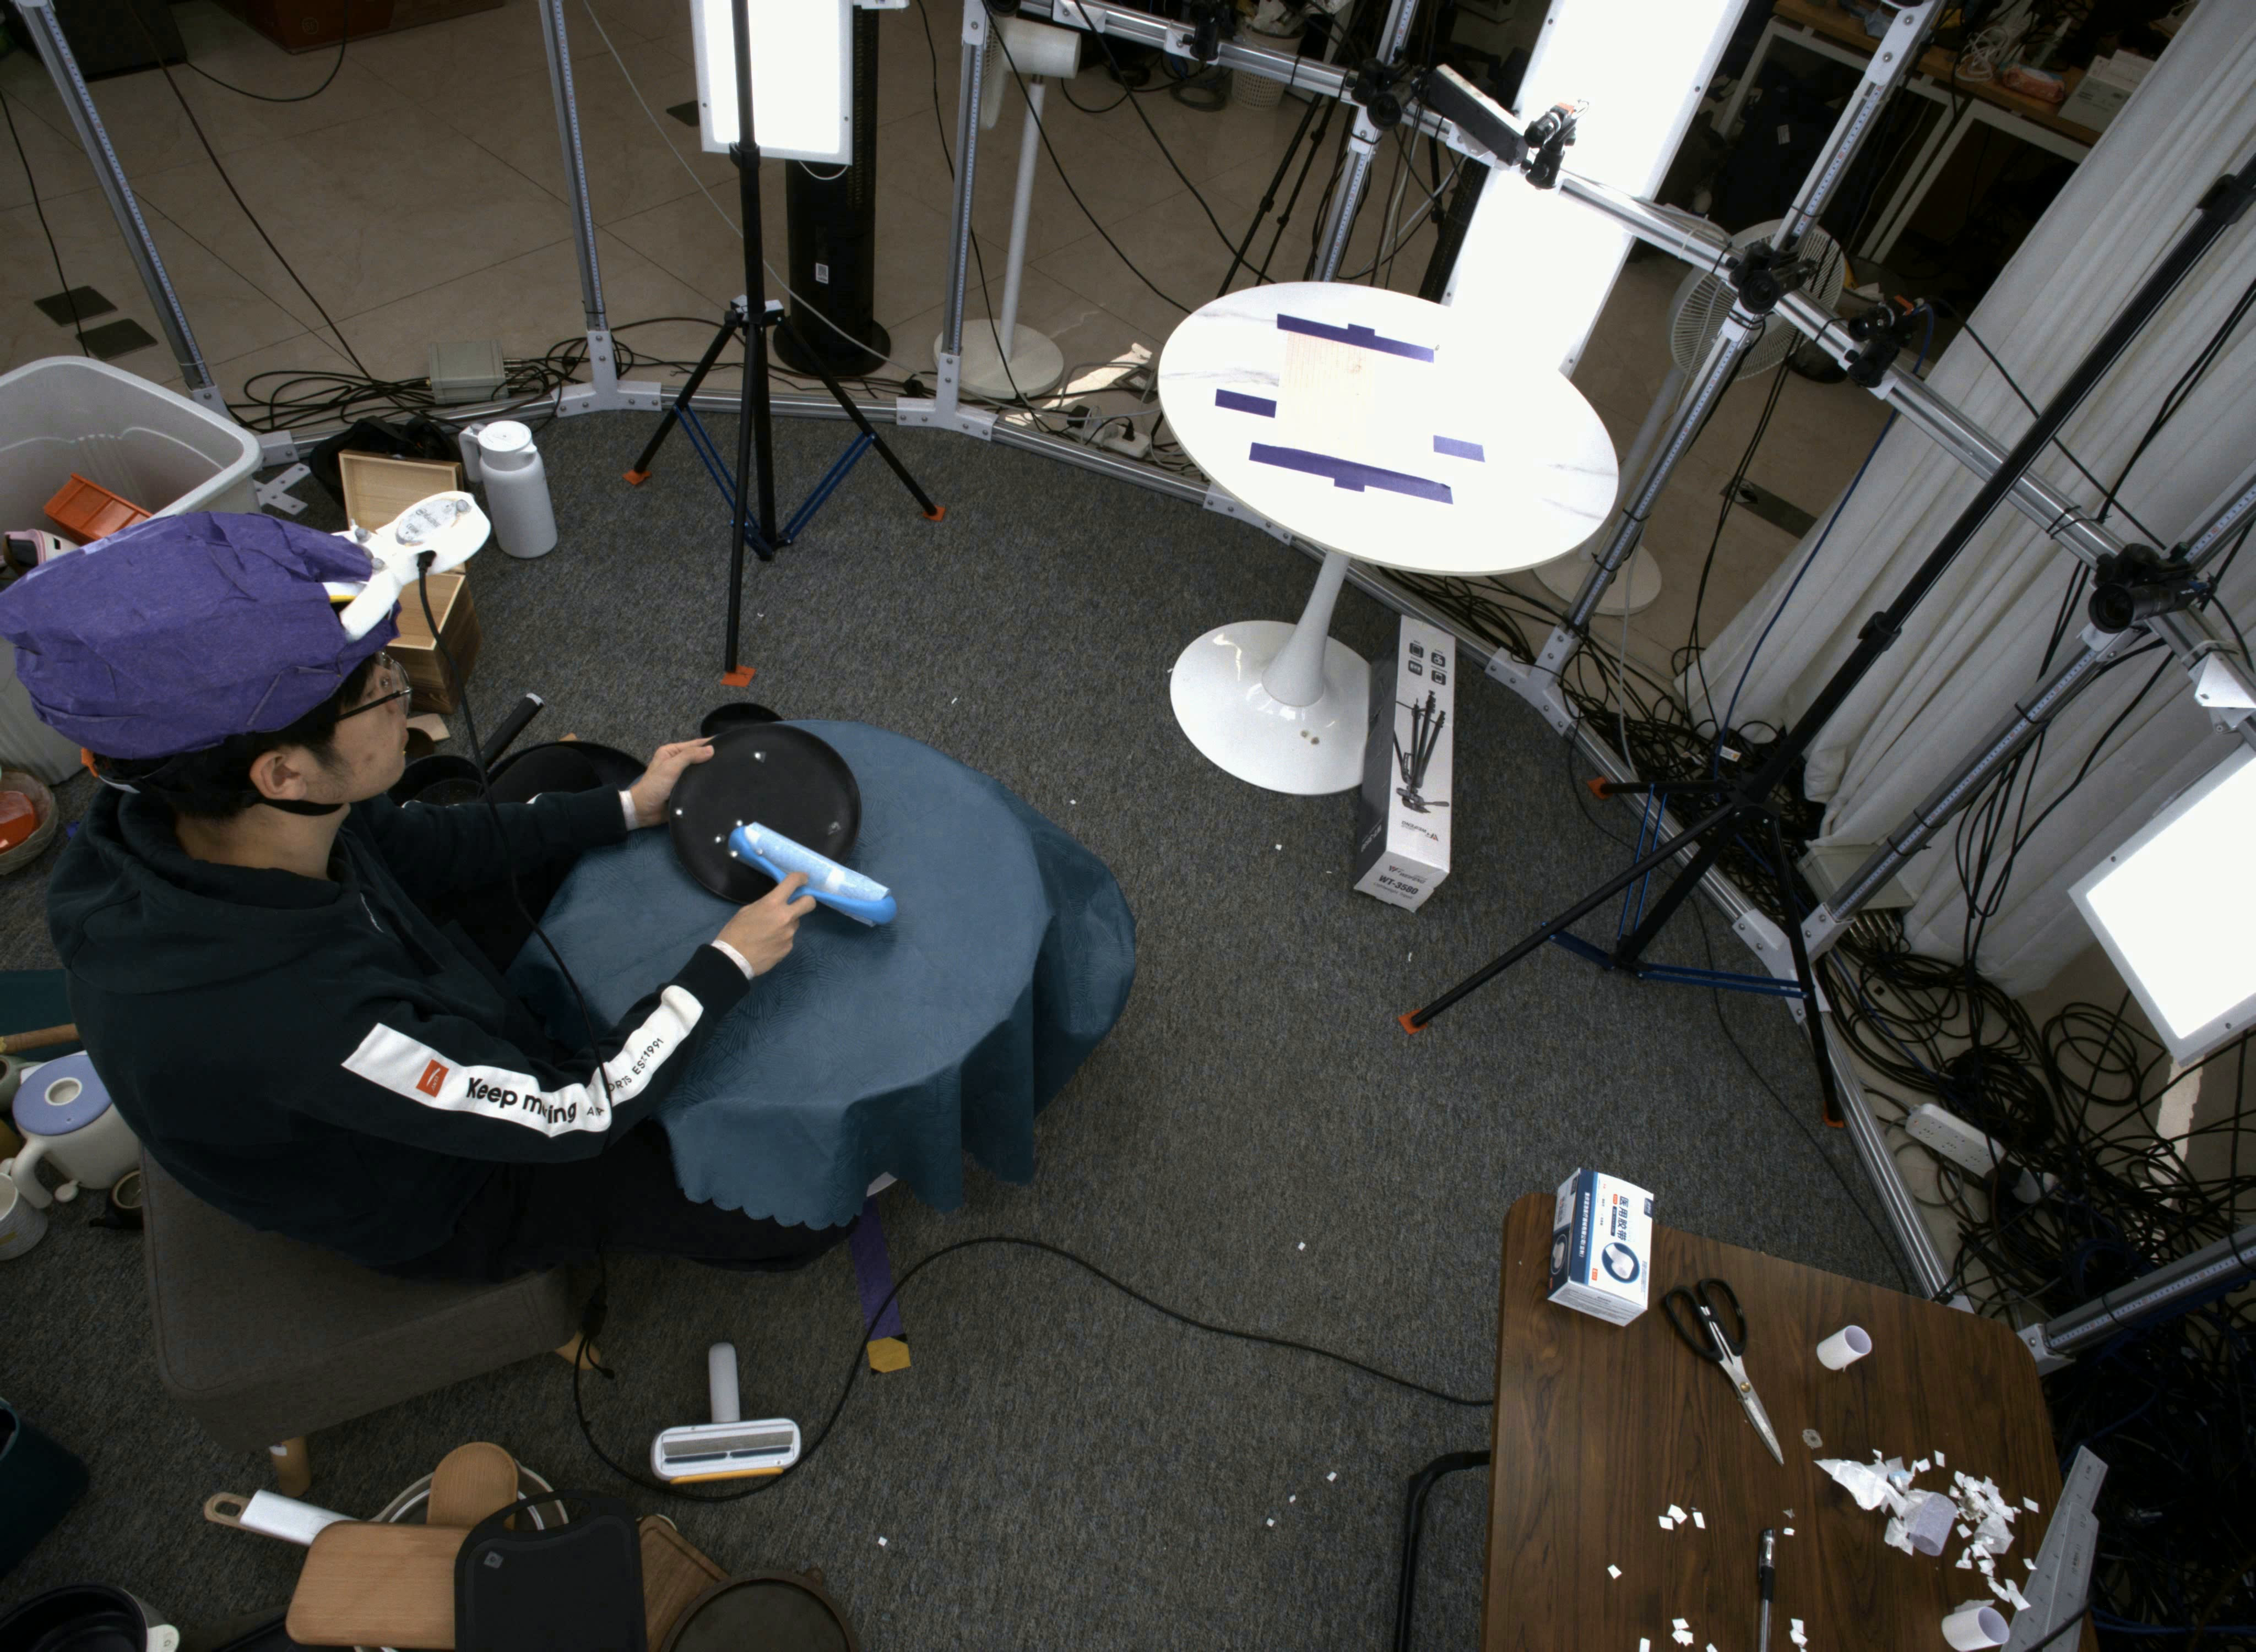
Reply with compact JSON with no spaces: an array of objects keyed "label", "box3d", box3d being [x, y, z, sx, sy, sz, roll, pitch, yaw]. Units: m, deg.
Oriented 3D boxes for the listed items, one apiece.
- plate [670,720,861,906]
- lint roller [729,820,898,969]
[{"label":"plate","box3d":[-0.467,-0.017,1.672,0.244,0.023,0.244,3,77,-11]},{"label":"lint roller","box3d":[-0.411,0.093,1.591,0.228,0.069,0.178,26,43,-4]}]
